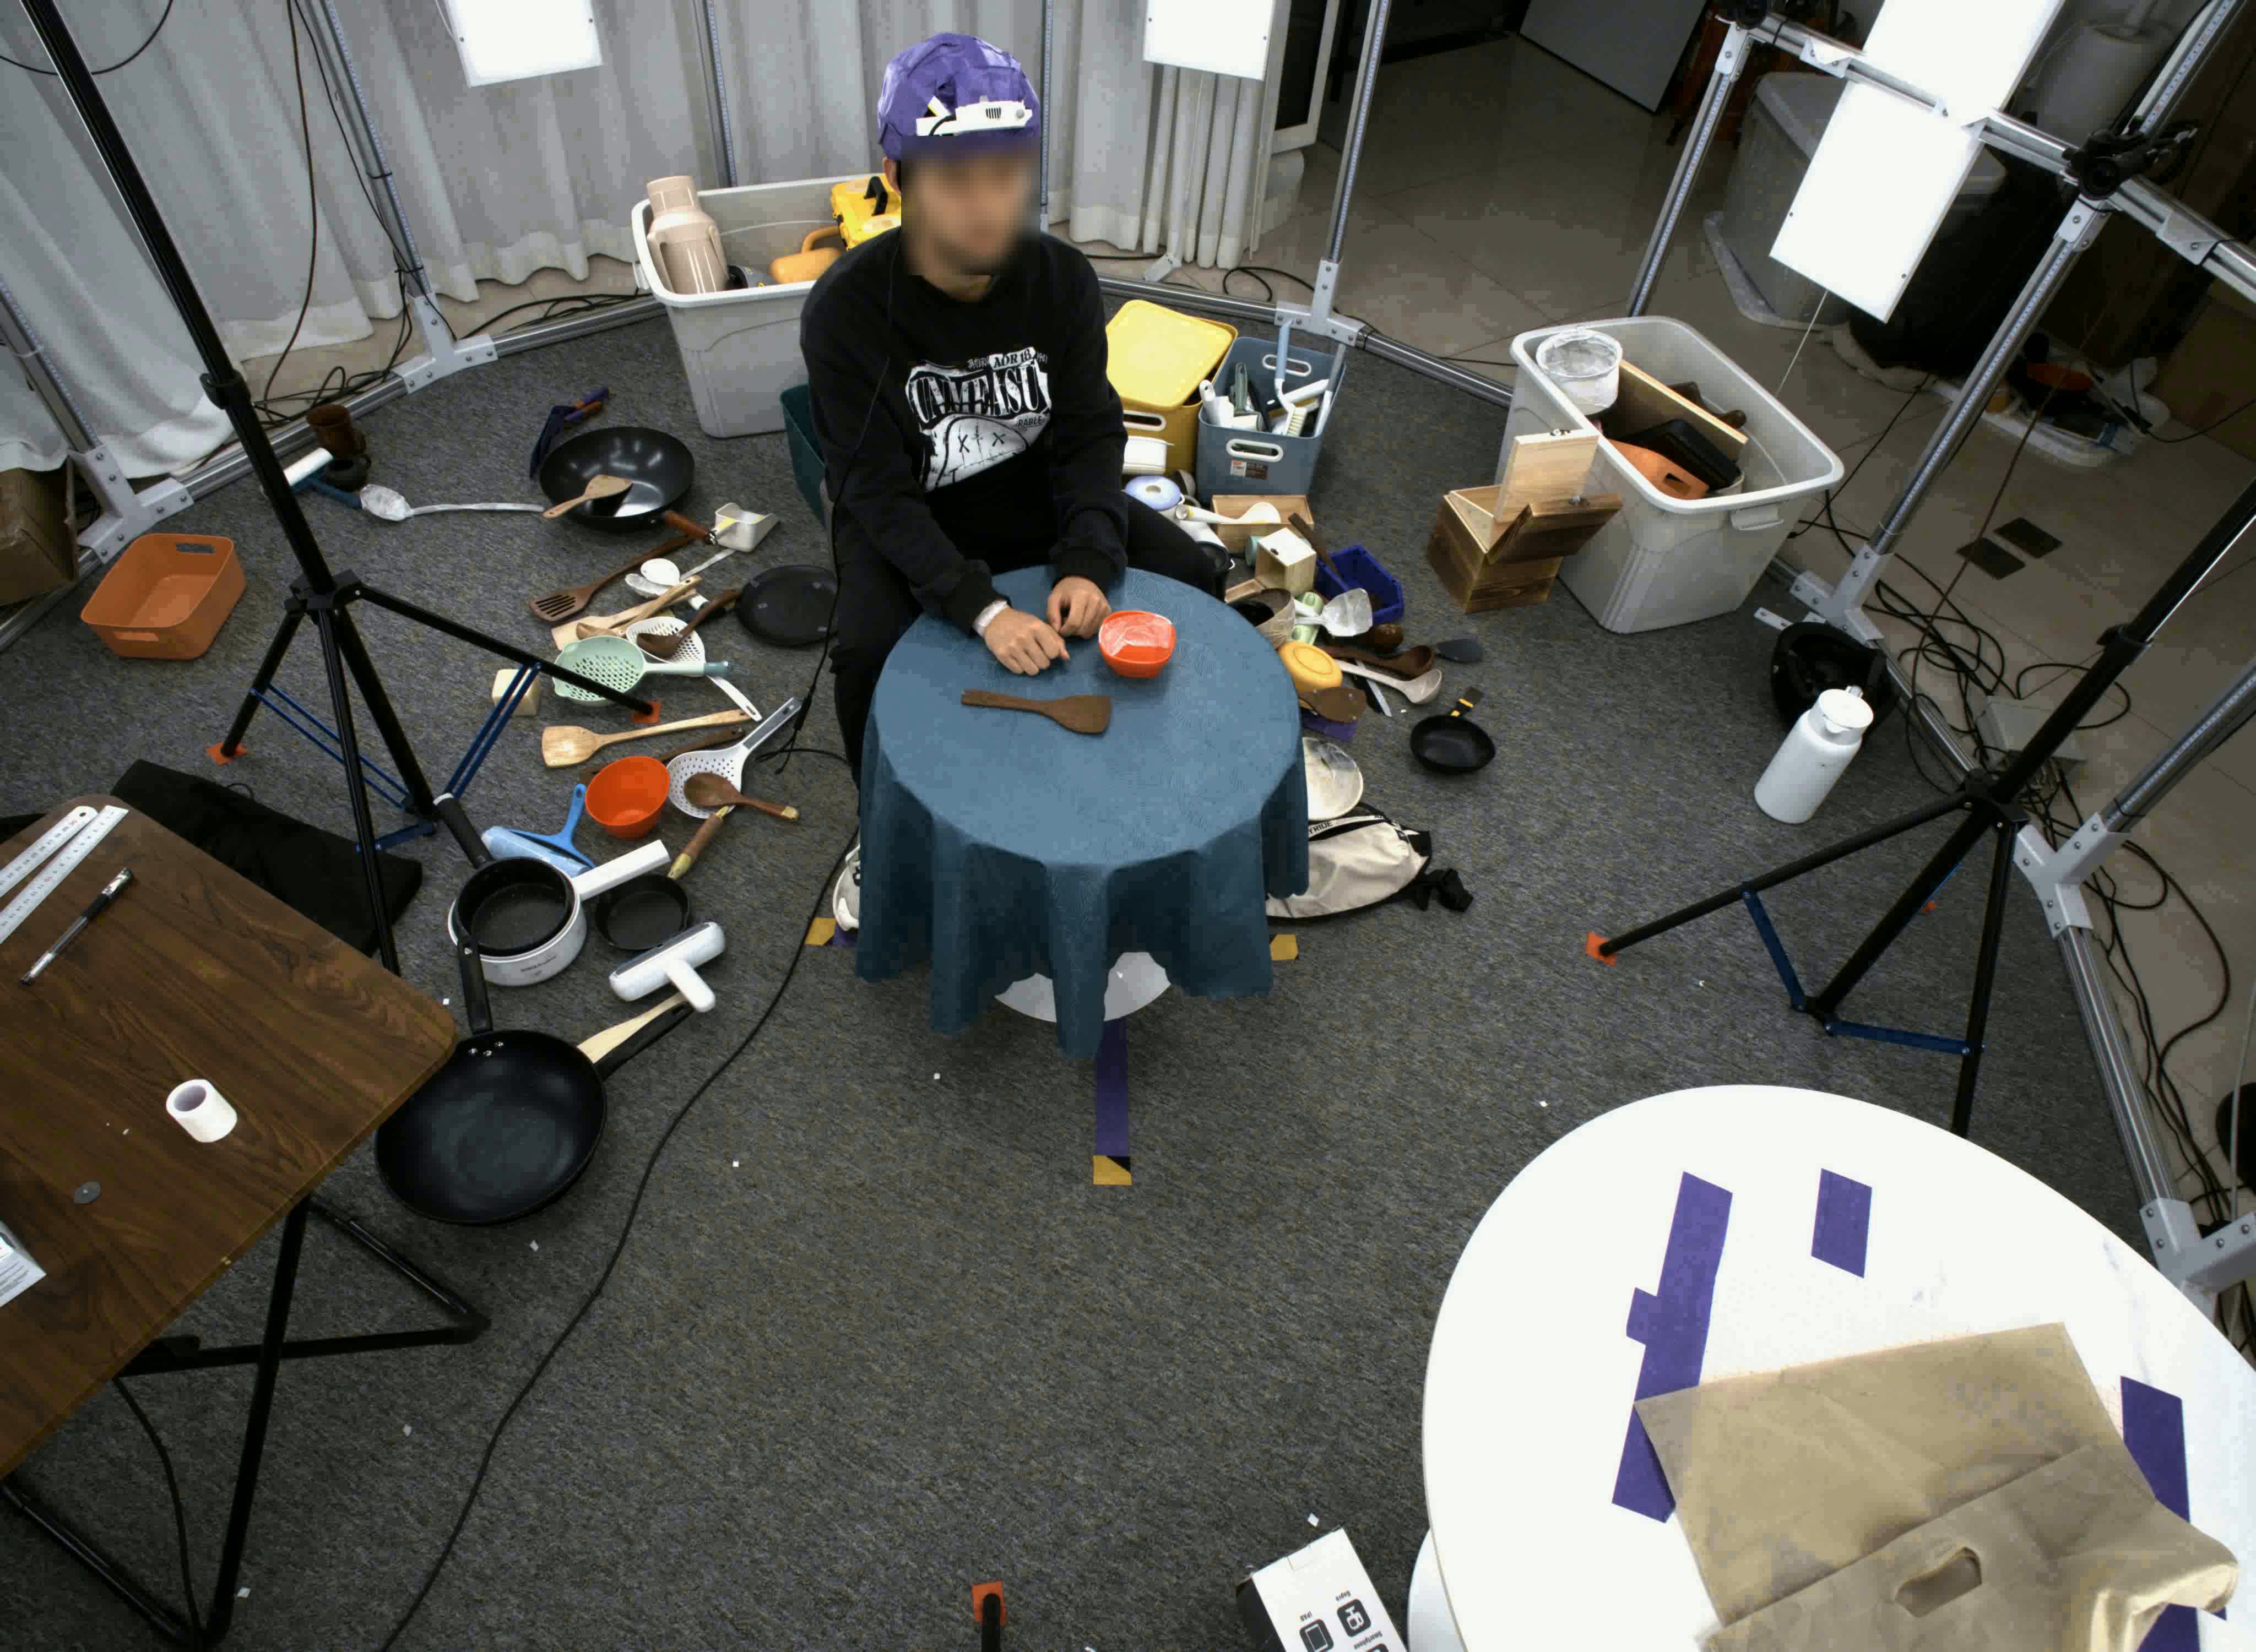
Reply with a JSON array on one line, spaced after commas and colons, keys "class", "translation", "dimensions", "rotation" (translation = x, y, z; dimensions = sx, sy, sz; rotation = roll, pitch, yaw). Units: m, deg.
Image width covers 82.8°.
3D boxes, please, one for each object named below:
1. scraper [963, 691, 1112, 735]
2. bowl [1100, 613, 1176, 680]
[{"class": "scraper", "translation": [-0.129, -0.168, 1.817], "dimensions": [0.211, 0.010, 0.077], "rotation": [8, 48, 4]}, {"class": "bowl", "translation": [0.013, -0.256, 1.876], "dimensions": [0.119, 0.050, 0.122], "rotation": [2, 51, -3]}]
